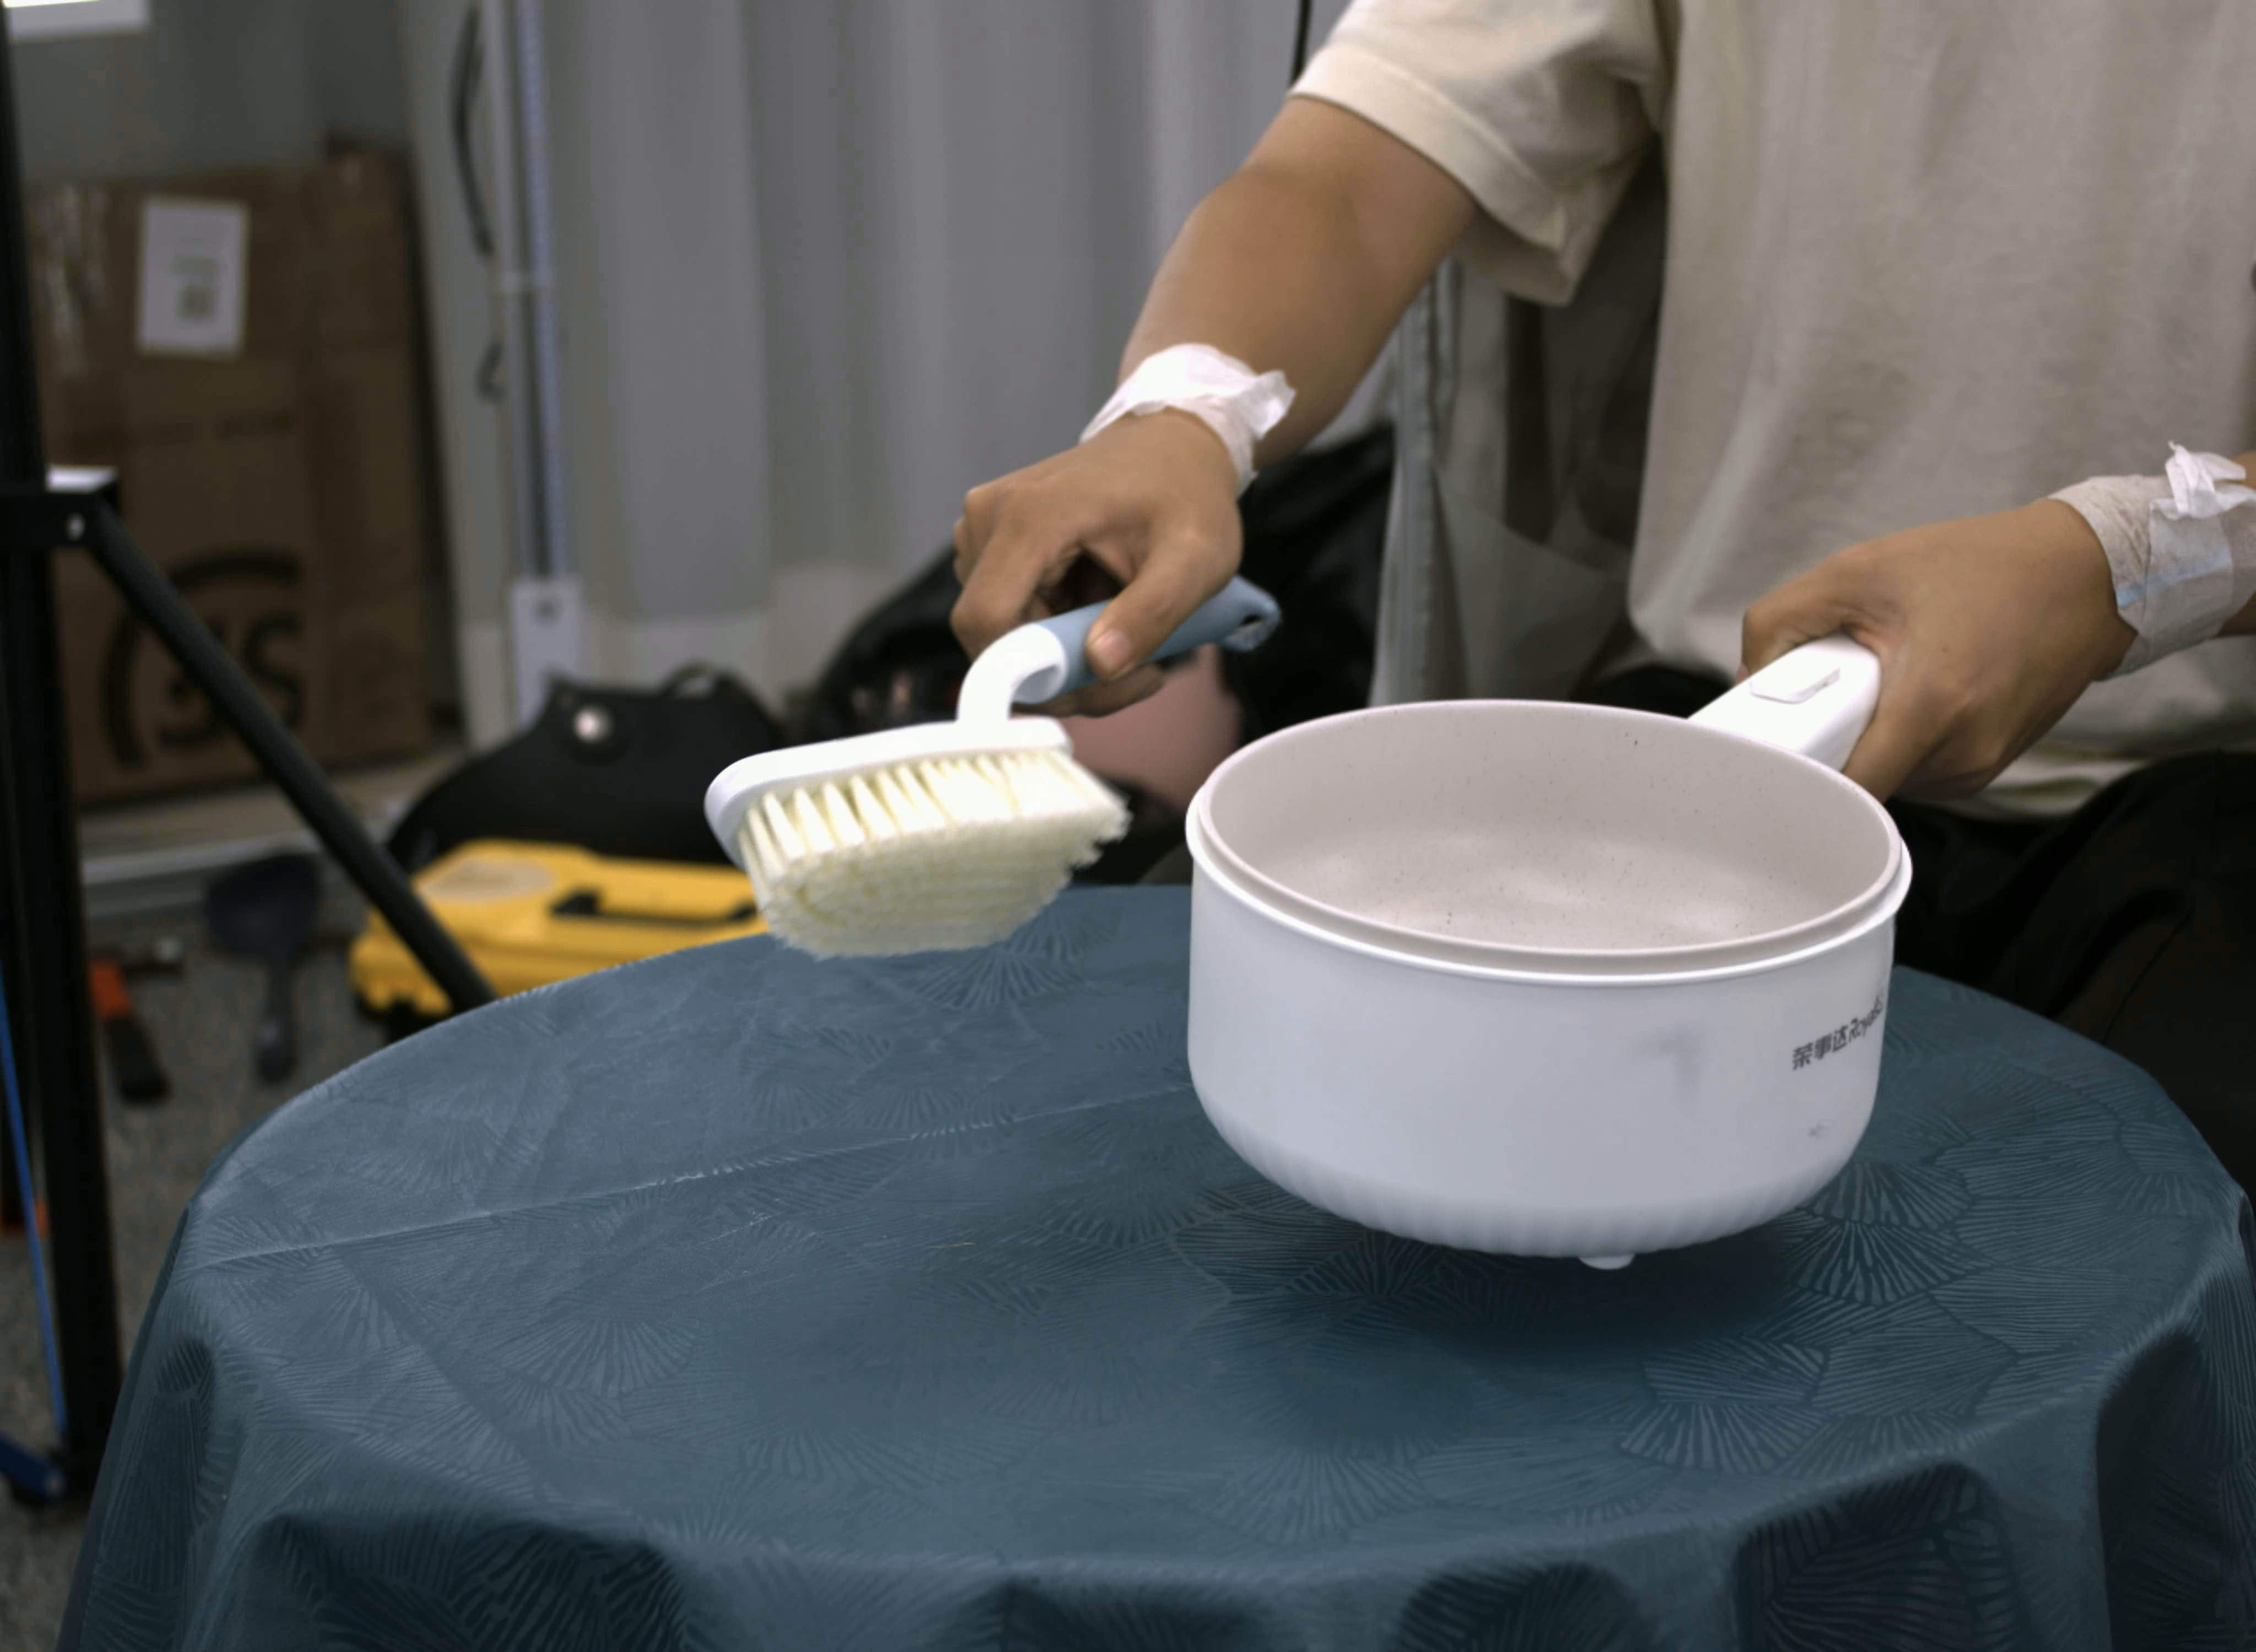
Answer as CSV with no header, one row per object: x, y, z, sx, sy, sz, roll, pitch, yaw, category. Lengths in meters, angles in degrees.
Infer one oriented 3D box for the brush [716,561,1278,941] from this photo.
-0.011,-0.021,1.613,0.084,0.085,0.319,-4,8,30,brush

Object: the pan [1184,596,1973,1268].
0.153,0.023,1.536,0.205,0.102,0.348,14,23,29,pan
